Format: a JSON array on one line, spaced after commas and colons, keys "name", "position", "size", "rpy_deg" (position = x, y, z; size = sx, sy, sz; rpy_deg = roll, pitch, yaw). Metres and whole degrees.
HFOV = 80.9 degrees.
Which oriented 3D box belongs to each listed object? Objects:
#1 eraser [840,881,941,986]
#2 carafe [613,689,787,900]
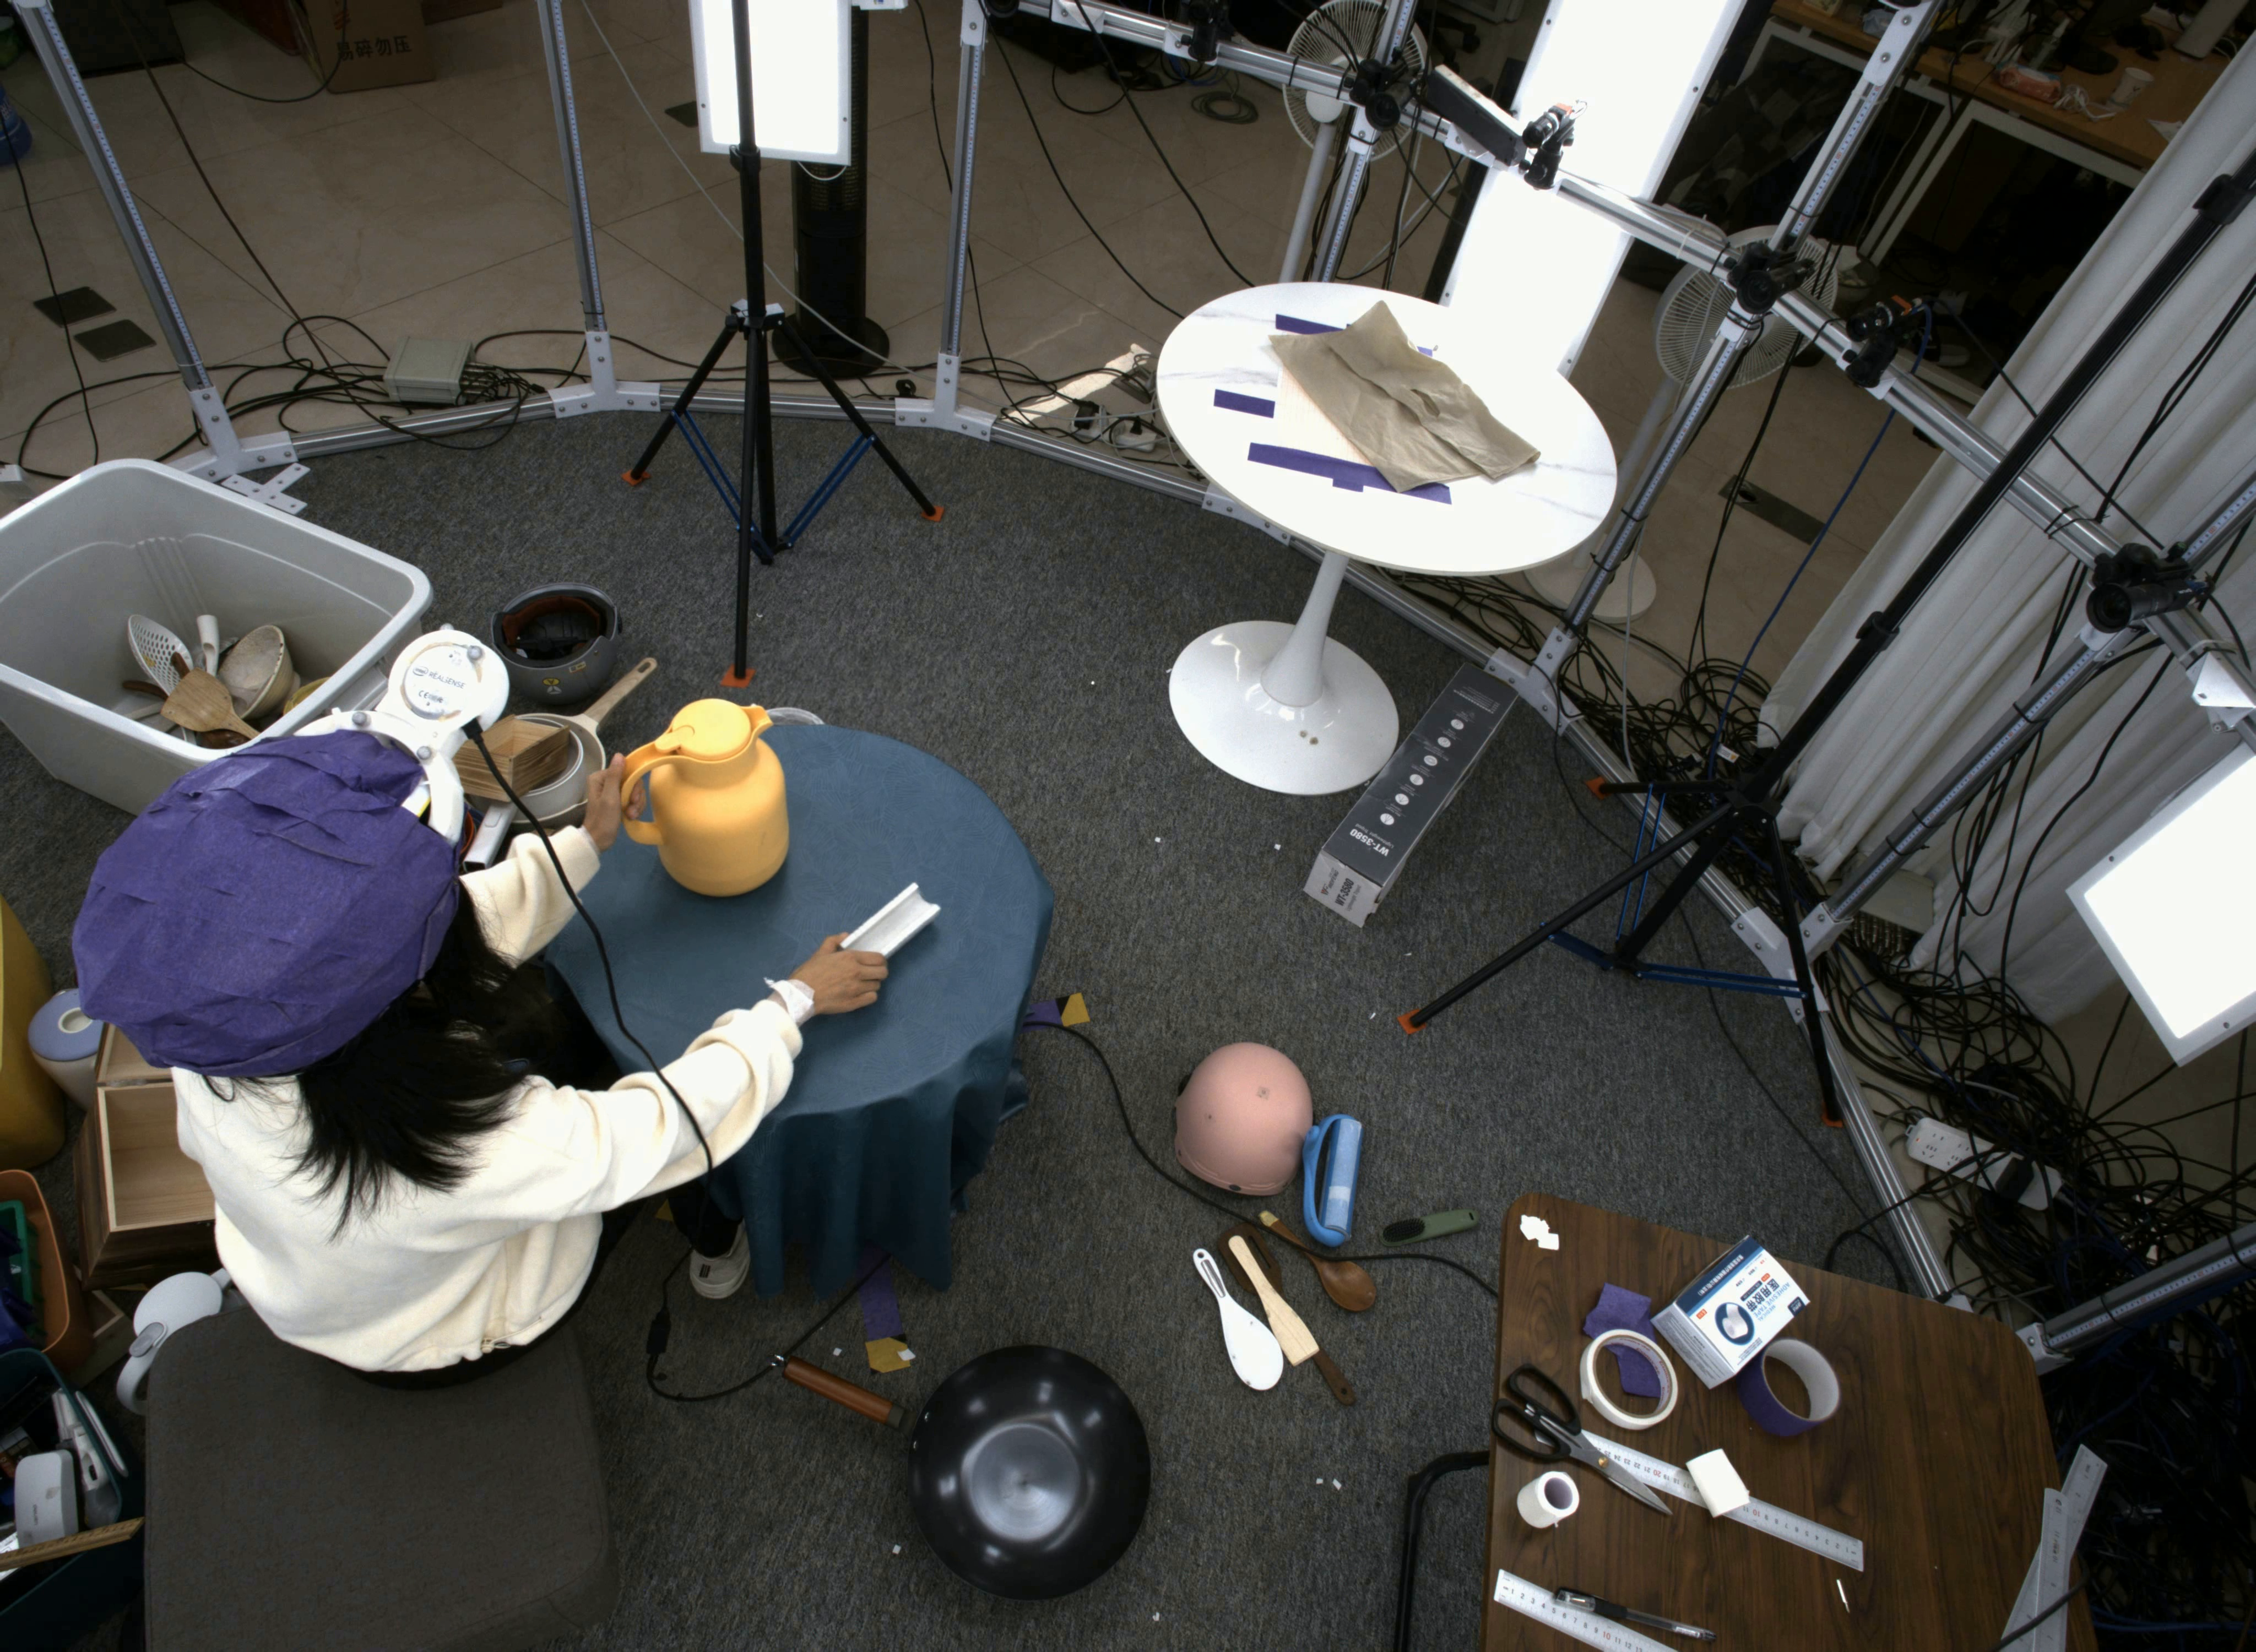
[{"name": "eraser", "position": [-0.296, 0.132, 1.621], "size": [0.049, 0.047, 0.134], "rpy_deg": [42, 53, 2]}, {"name": "carafe", "position": [-0.515, -0.039, 1.552], "size": [0.203, 0.266, 0.159], "rpy_deg": [-21, 56, -28]}]
